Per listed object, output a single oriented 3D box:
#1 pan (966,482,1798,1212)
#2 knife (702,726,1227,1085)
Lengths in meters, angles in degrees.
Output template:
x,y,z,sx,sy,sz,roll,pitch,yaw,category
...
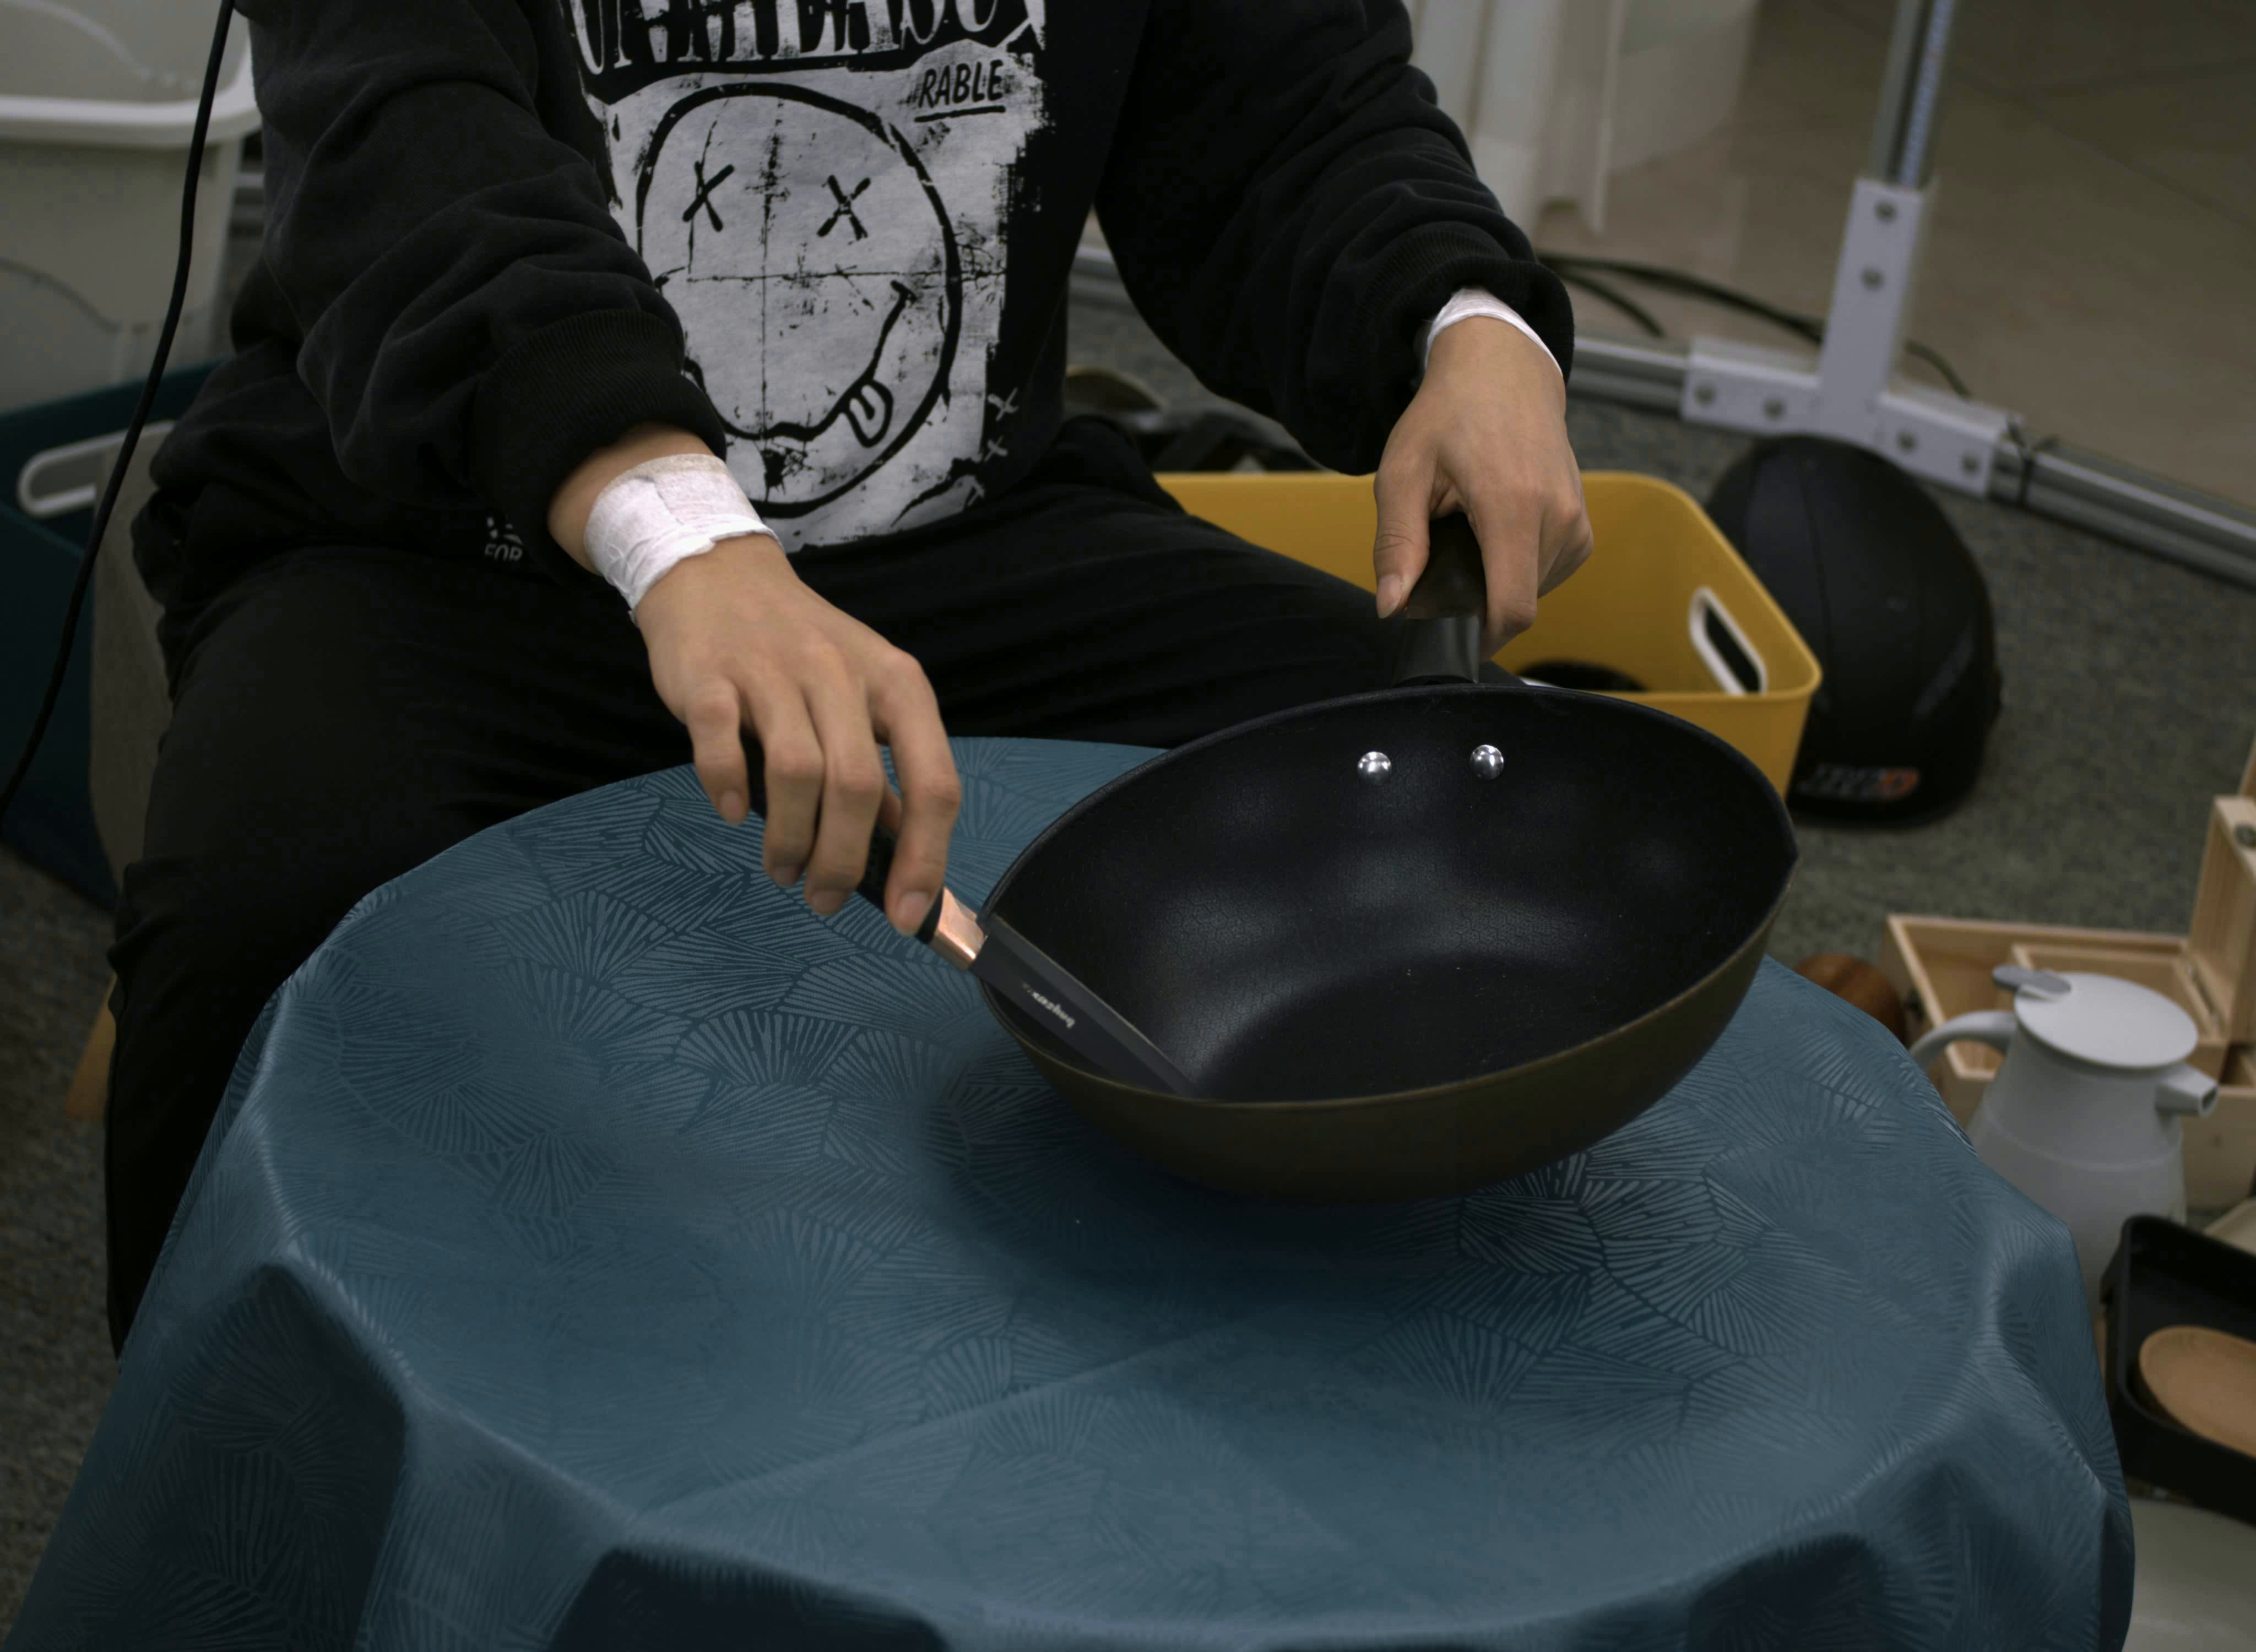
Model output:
x,y,z,sx,sy,sz,roll,pitch,yaw,category
0.105,0.010,1.910,0.288,0.086,0.465,-4,28,13,pan
-0.046,0.038,1.737,0.225,0.017,0.026,37,54,-7,knife
